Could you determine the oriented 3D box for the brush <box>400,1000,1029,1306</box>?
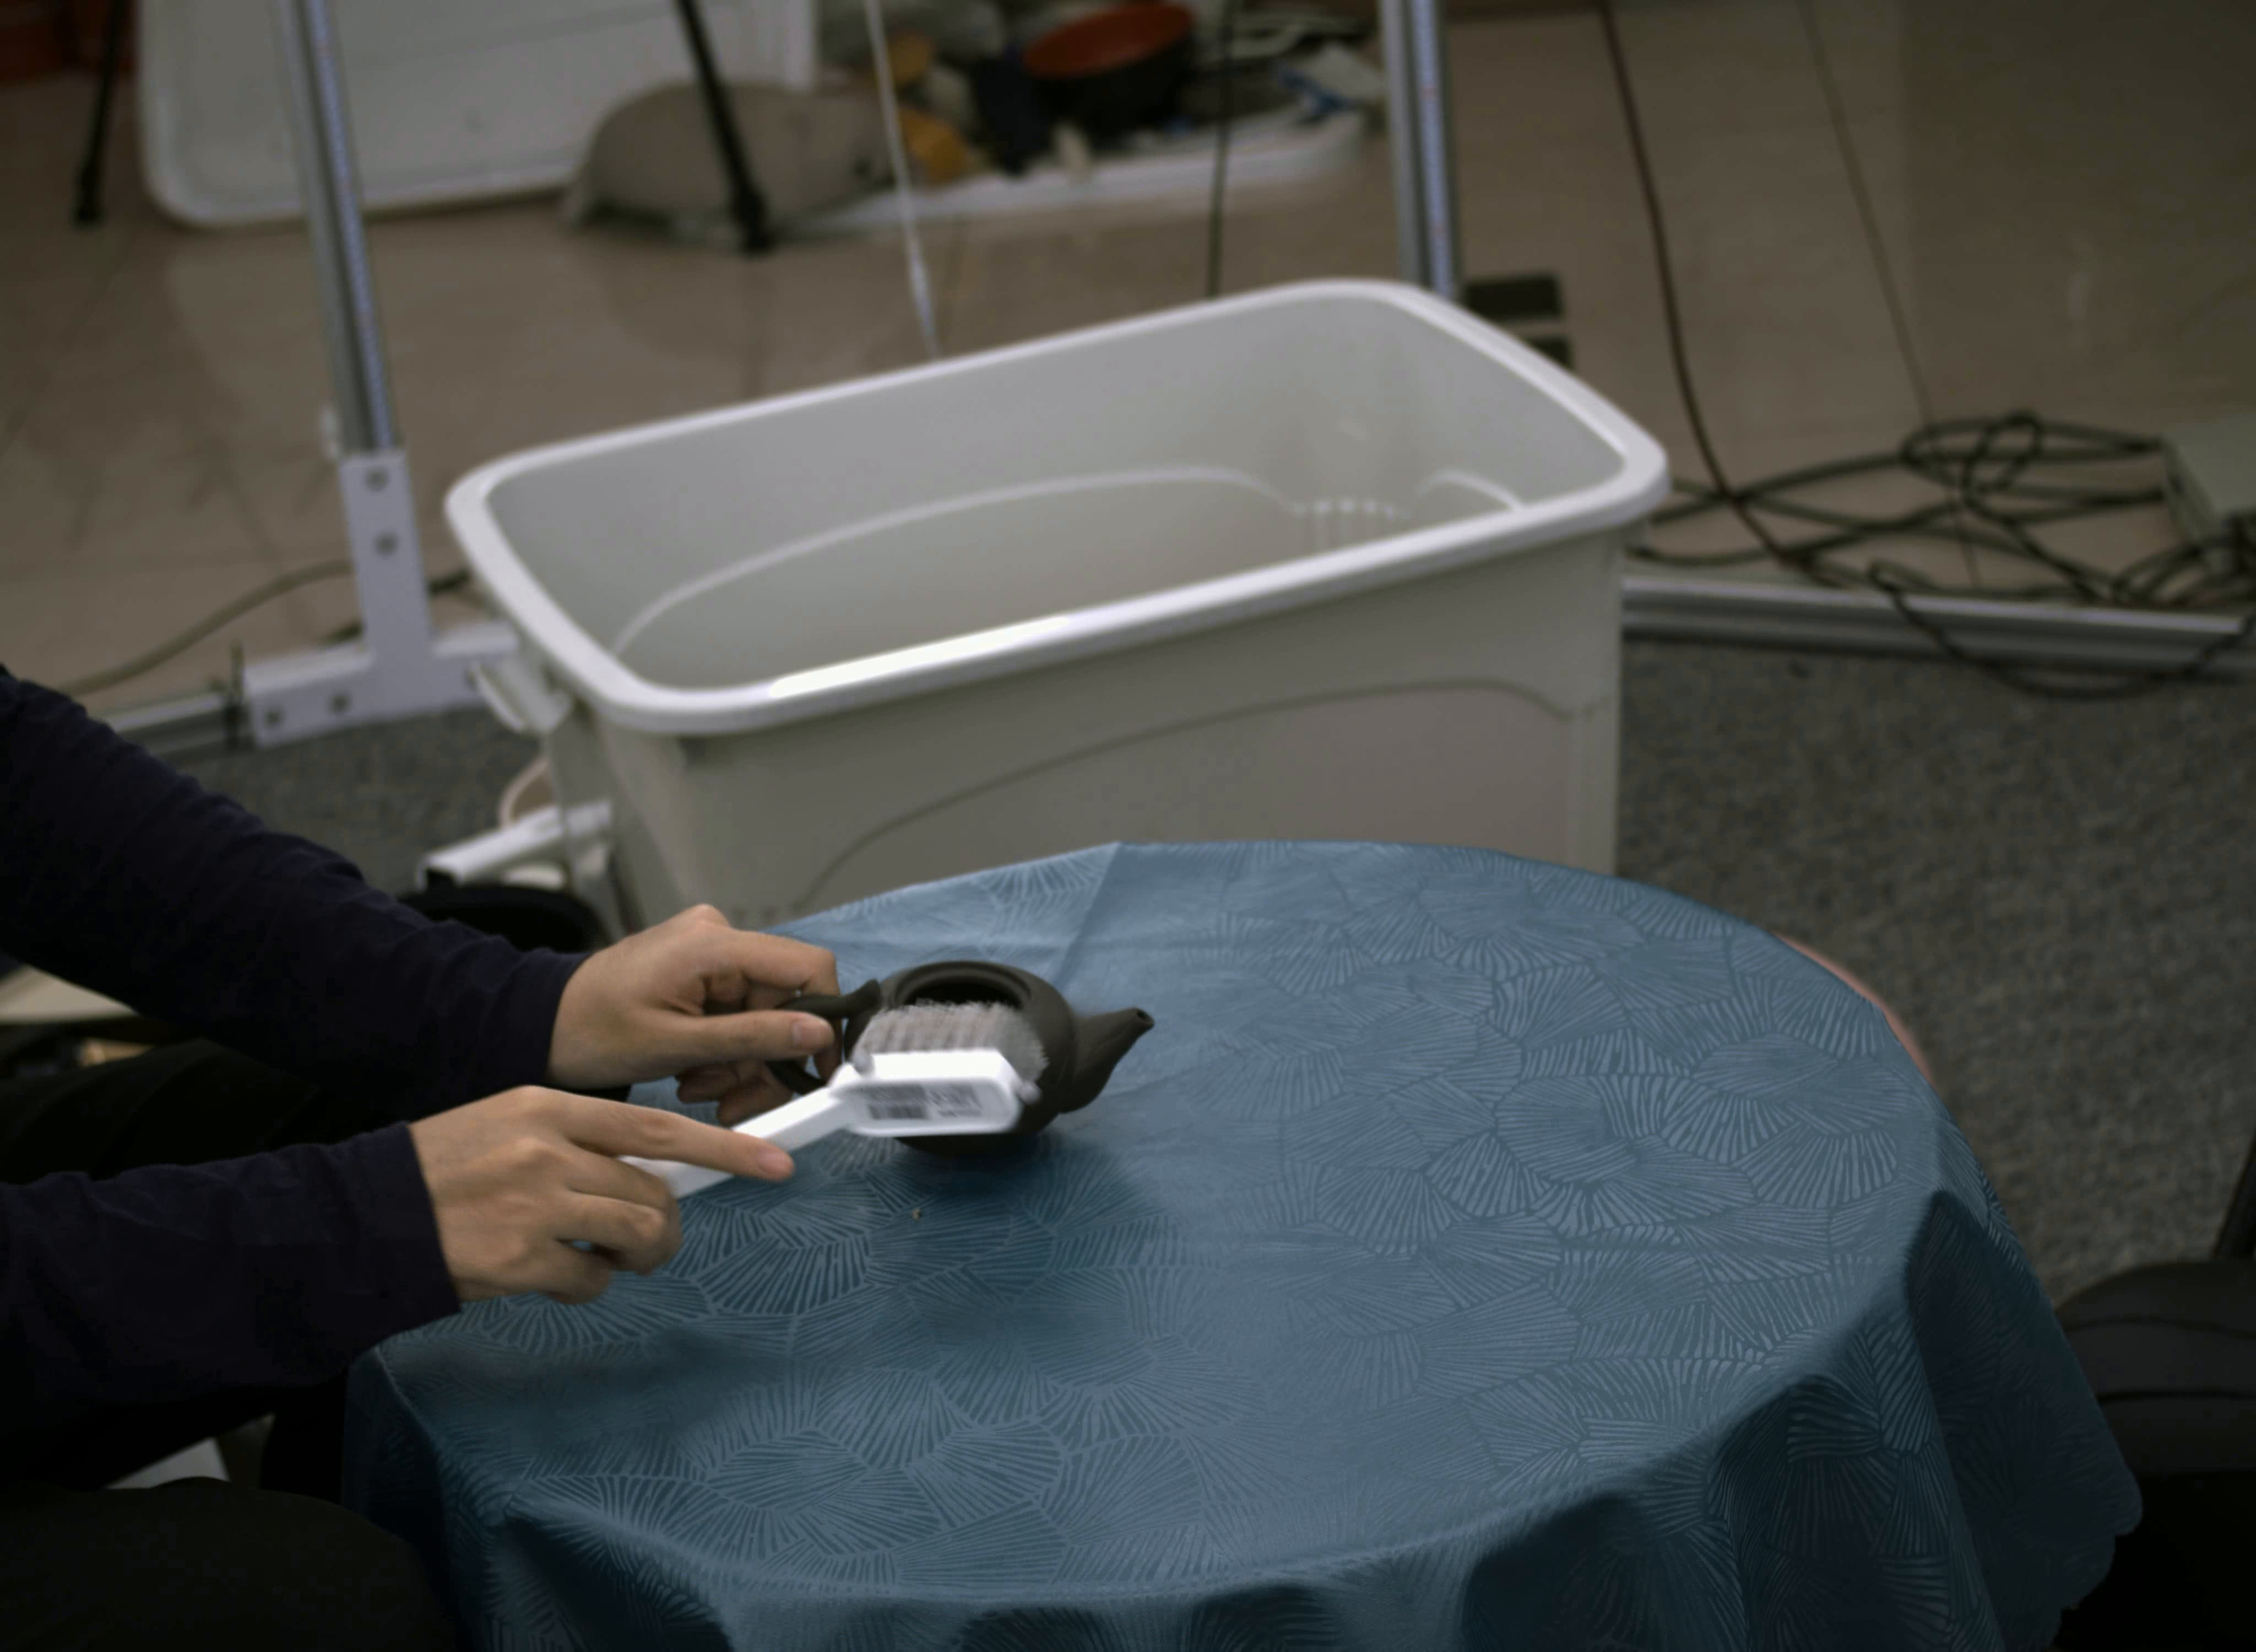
[{"bbox_3d":[-0.153,0.117,2.074,0.243,0.035,0.049,-19,39,7],"label":"brush"}]

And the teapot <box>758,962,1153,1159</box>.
[{"bbox_3d":[-0.067,0.089,2.191,0.154,0.065,0.091,2,28,4],"label":"teapot"}]
